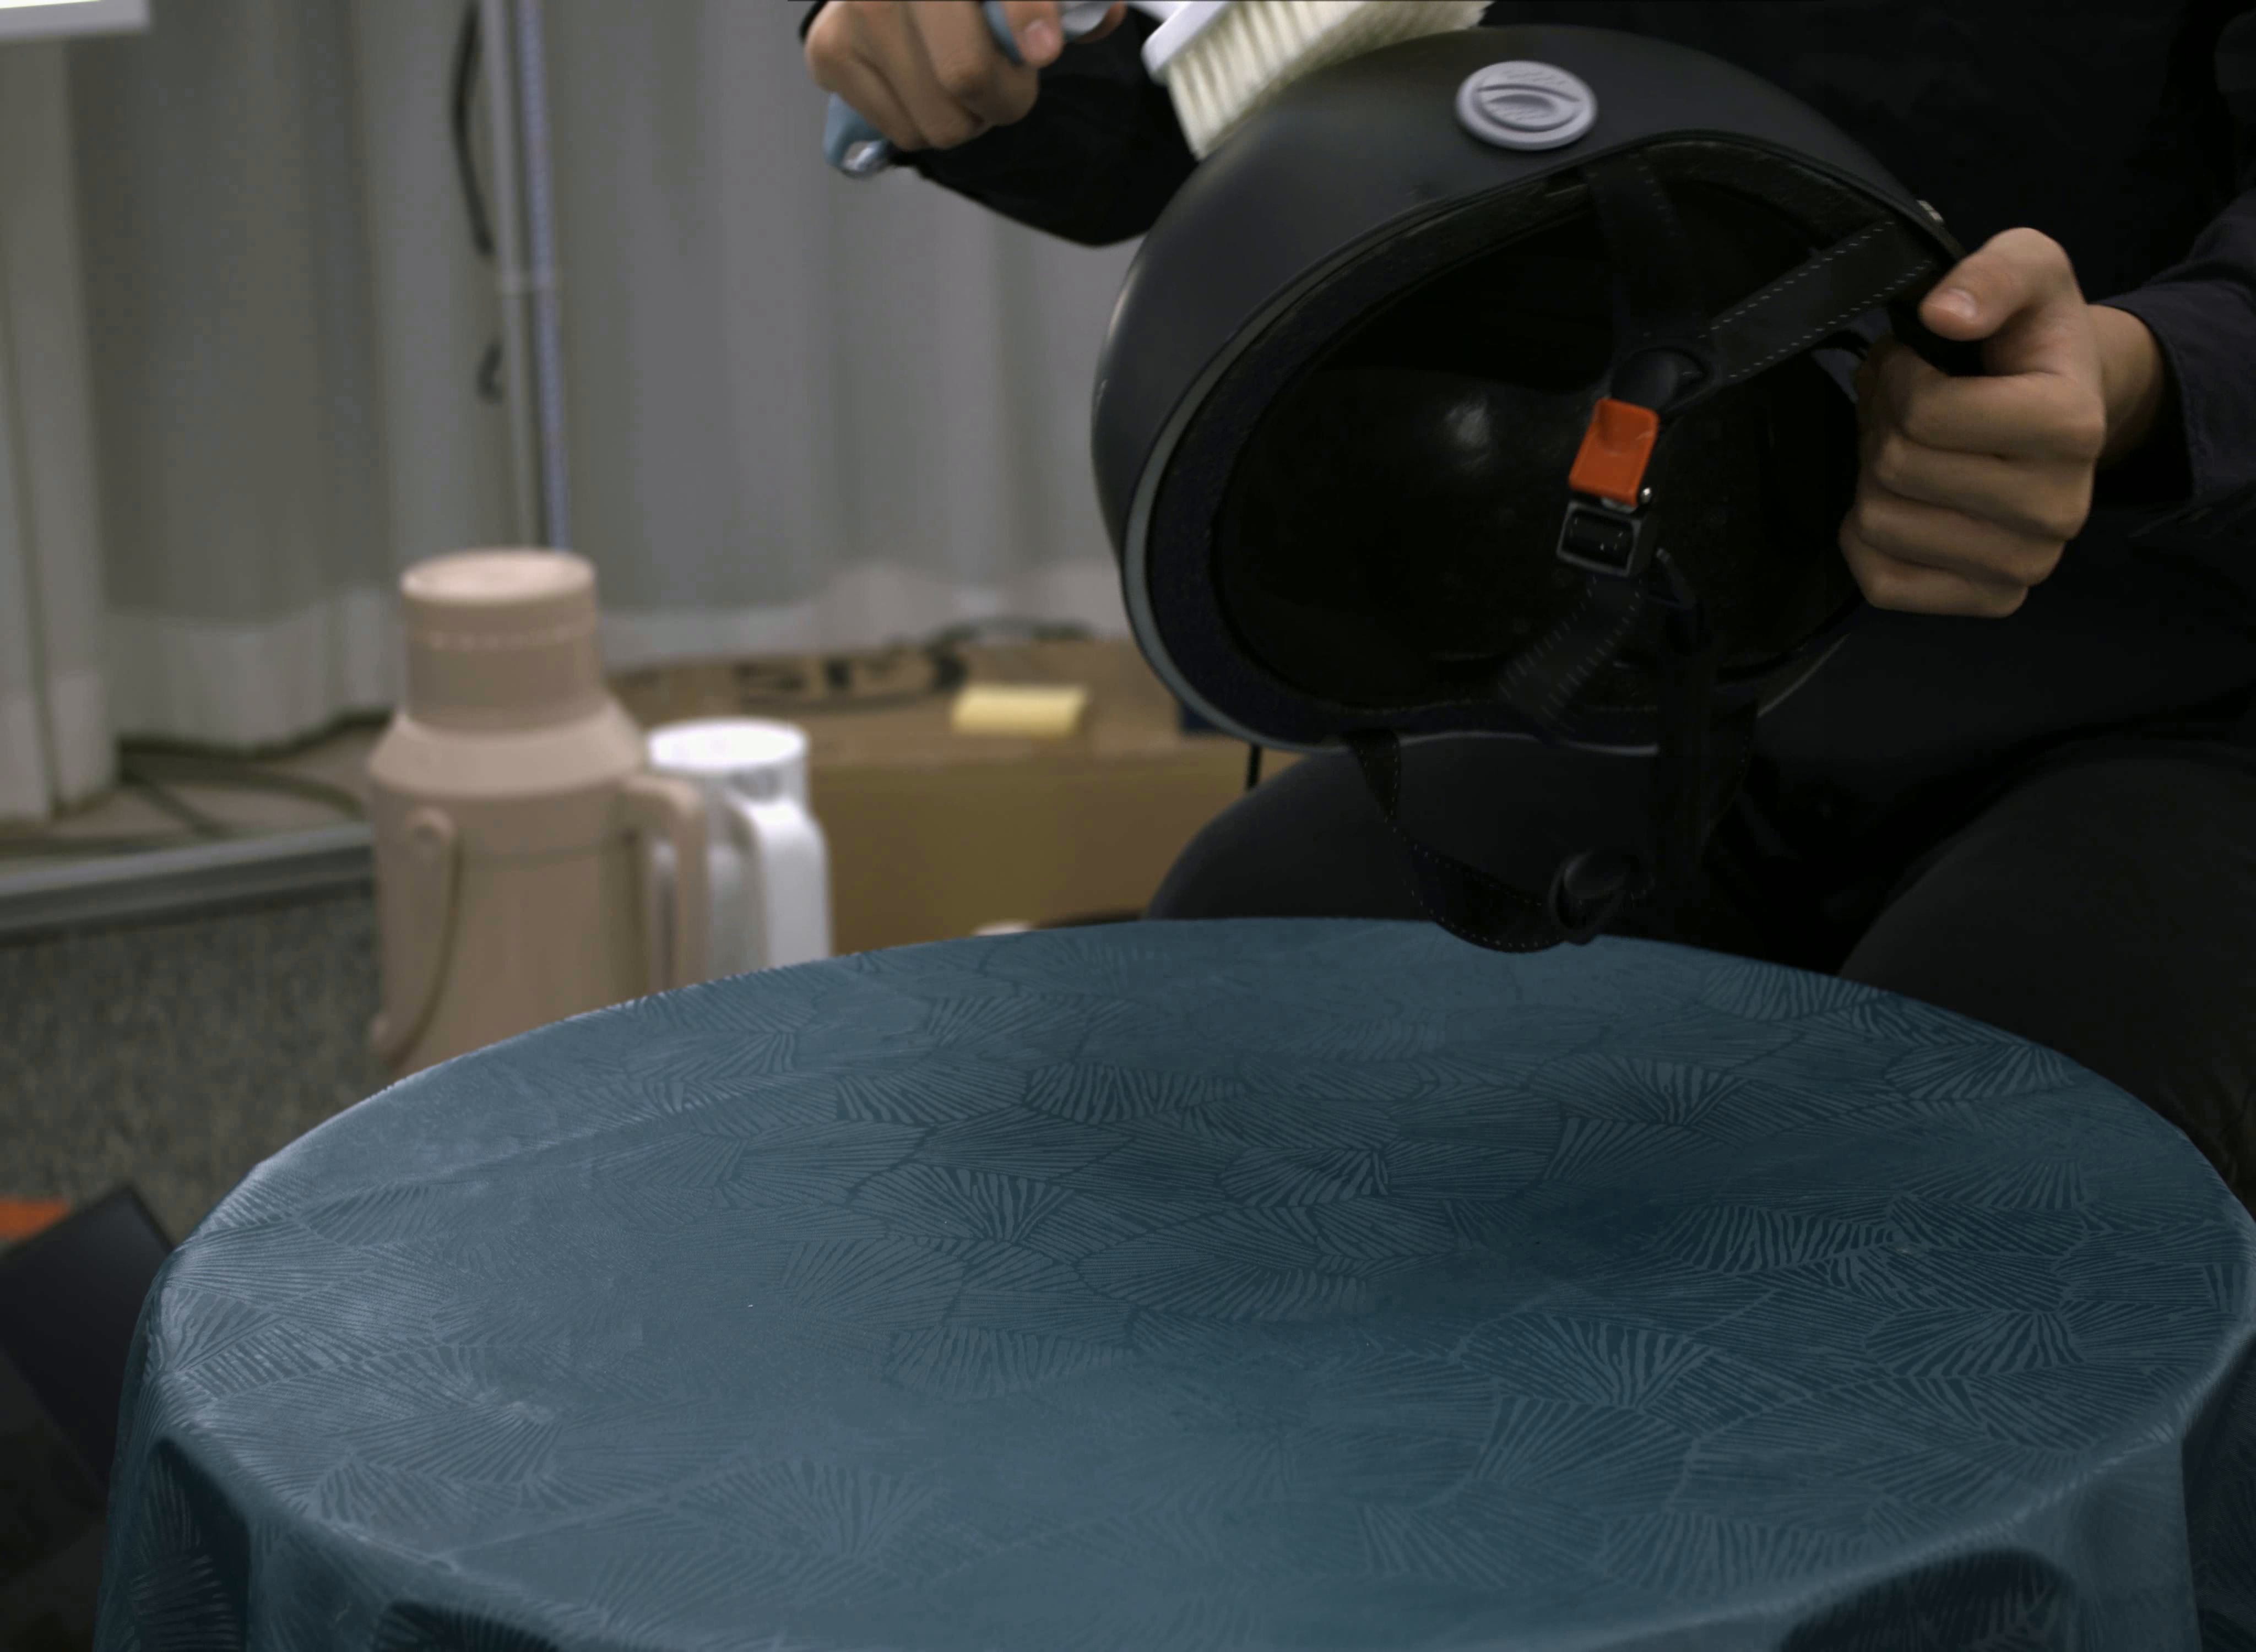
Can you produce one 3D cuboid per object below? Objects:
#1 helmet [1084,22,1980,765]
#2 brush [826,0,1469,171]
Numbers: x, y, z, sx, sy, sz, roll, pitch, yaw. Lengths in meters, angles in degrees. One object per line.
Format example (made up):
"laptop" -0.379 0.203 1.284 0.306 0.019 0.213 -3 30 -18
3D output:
"helmet" 0.106 -0.137 1.566 0.268 0.230 0.170 0 39 -19
"brush" 0.008 -0.225 1.638 0.081 0.085 0.331 32 -27 -25
